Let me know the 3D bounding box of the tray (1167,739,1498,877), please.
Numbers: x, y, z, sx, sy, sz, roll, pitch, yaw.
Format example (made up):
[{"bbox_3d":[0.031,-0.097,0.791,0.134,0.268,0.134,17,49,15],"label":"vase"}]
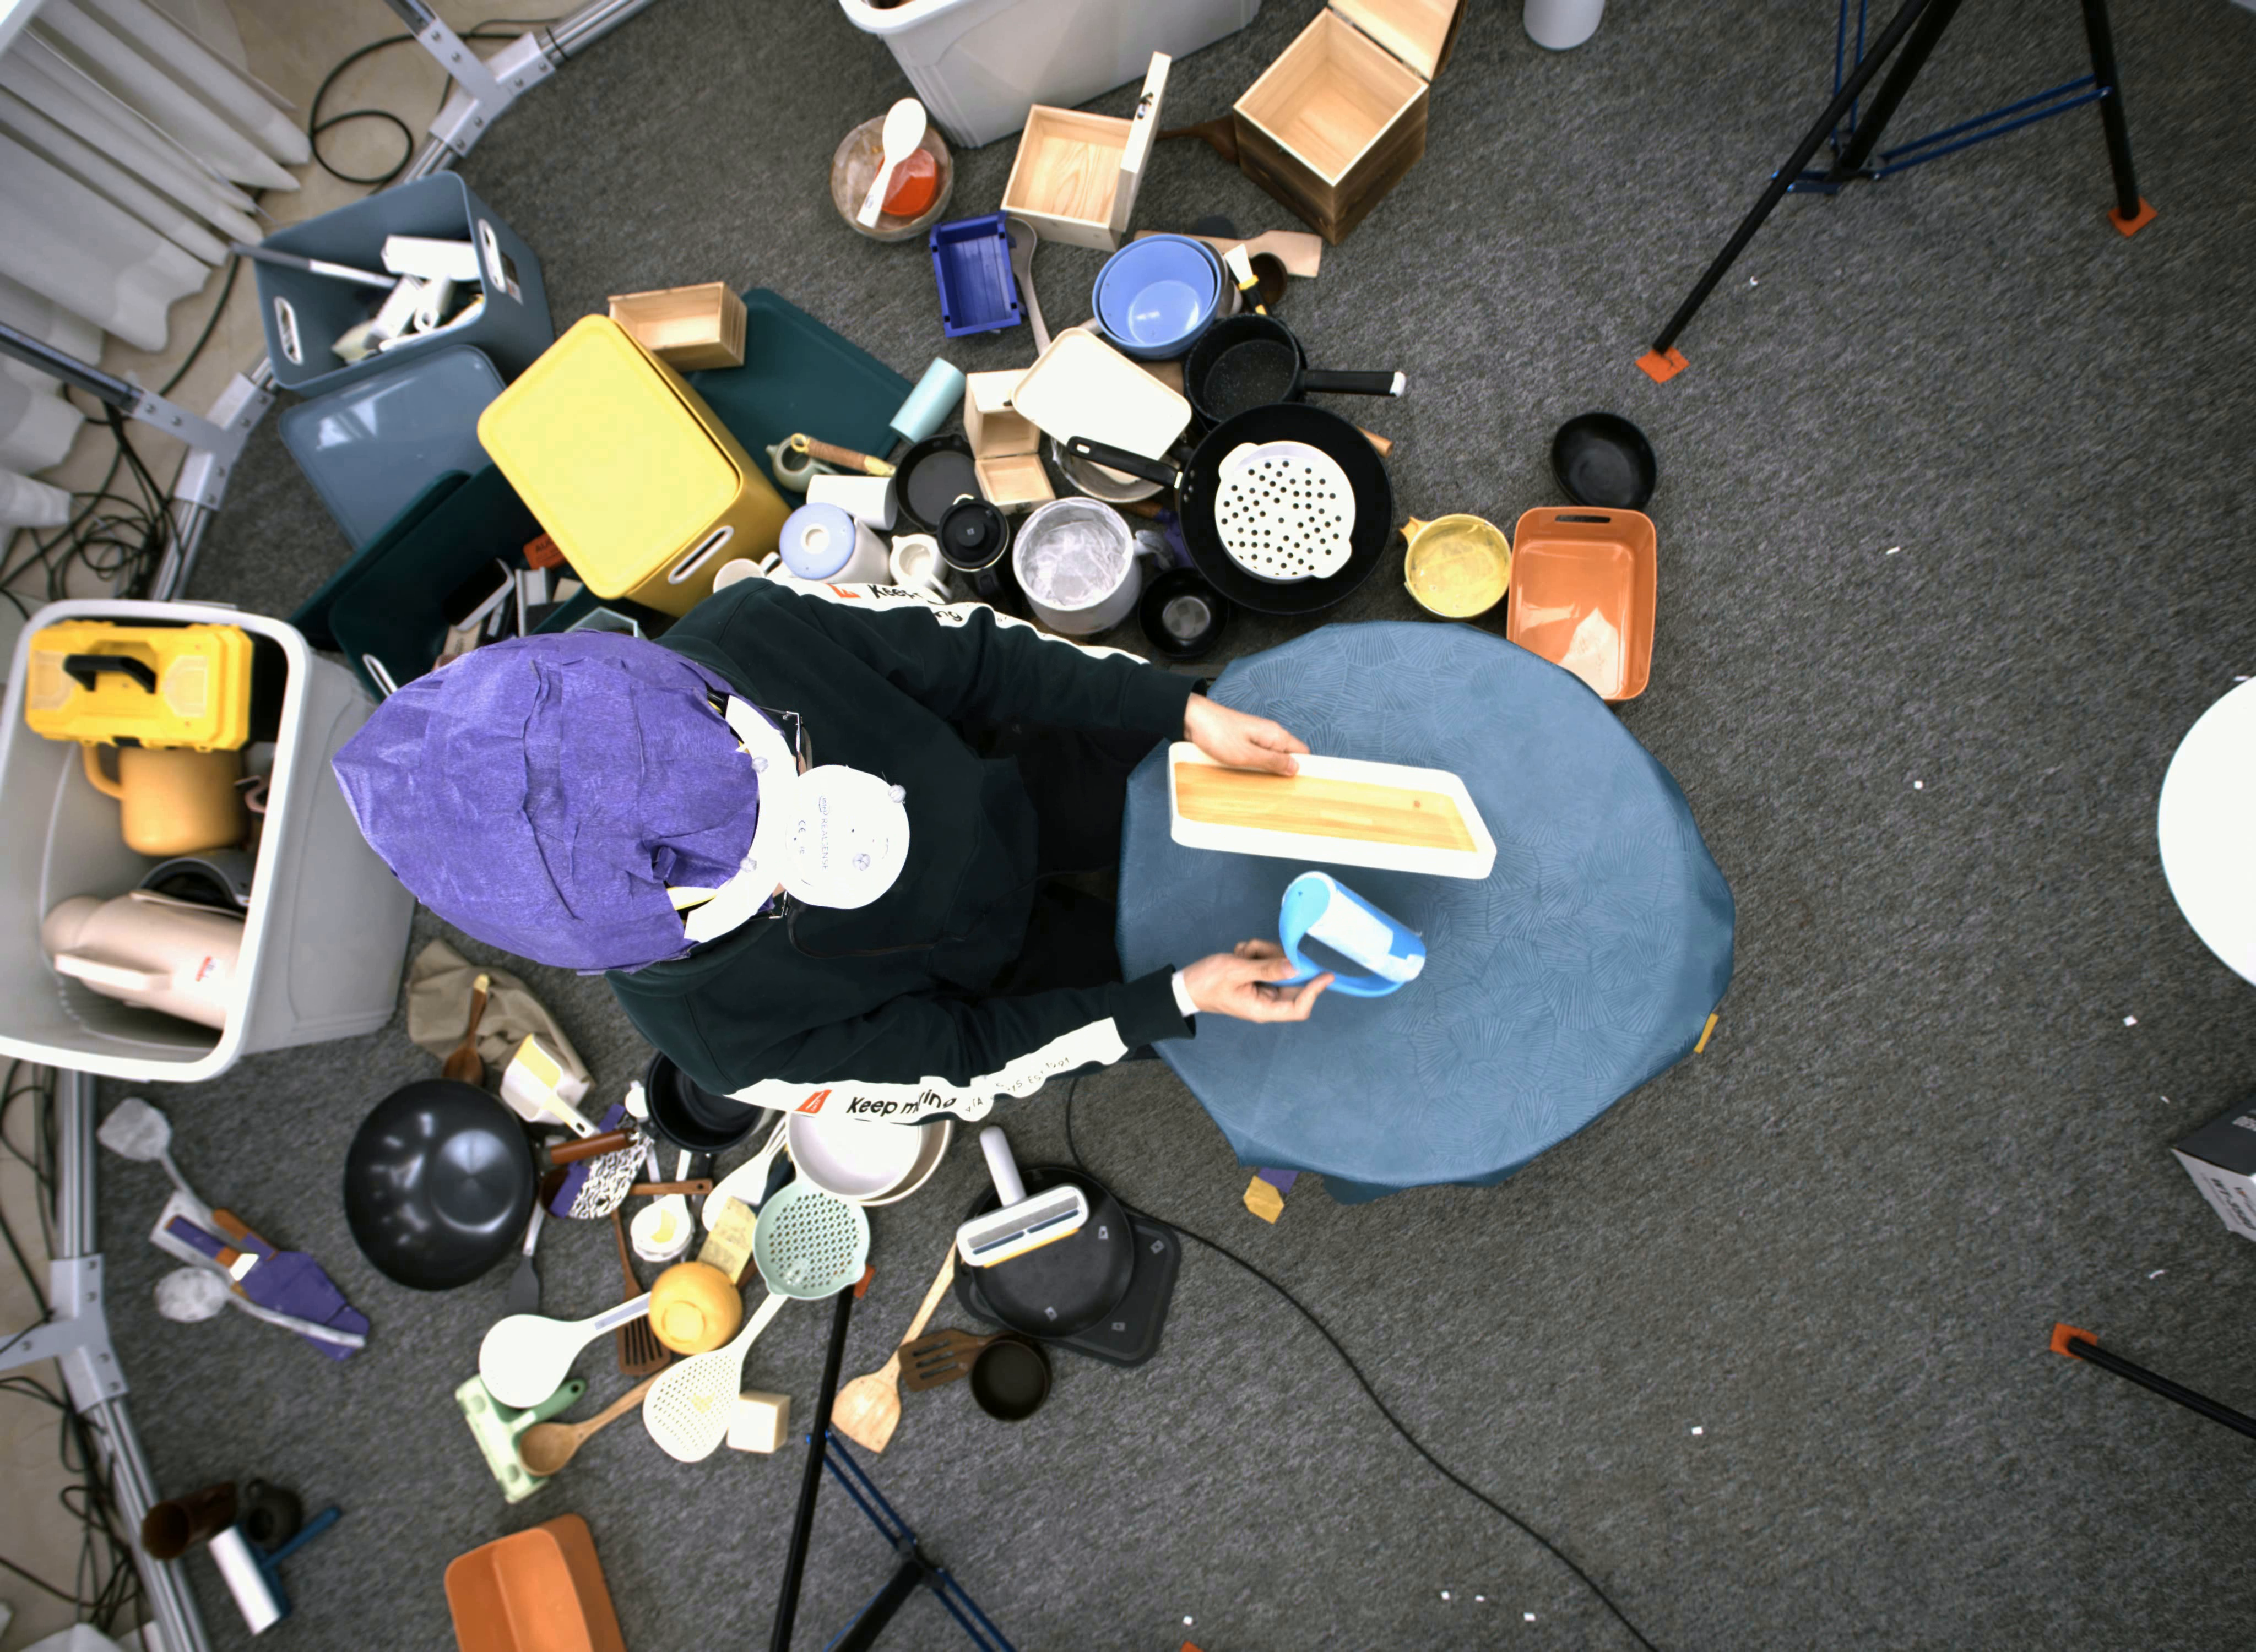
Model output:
[{"bbox_3d":[0.188,-0.021,1.322,0.300,0.187,0.028,6,117,-2],"label":"tray"}]

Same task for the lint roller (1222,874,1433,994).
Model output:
[{"bbox_3d":[0.172,0.120,1.316,0.183,0.229,0.066,-26,59,31],"label":"lint roller"}]
